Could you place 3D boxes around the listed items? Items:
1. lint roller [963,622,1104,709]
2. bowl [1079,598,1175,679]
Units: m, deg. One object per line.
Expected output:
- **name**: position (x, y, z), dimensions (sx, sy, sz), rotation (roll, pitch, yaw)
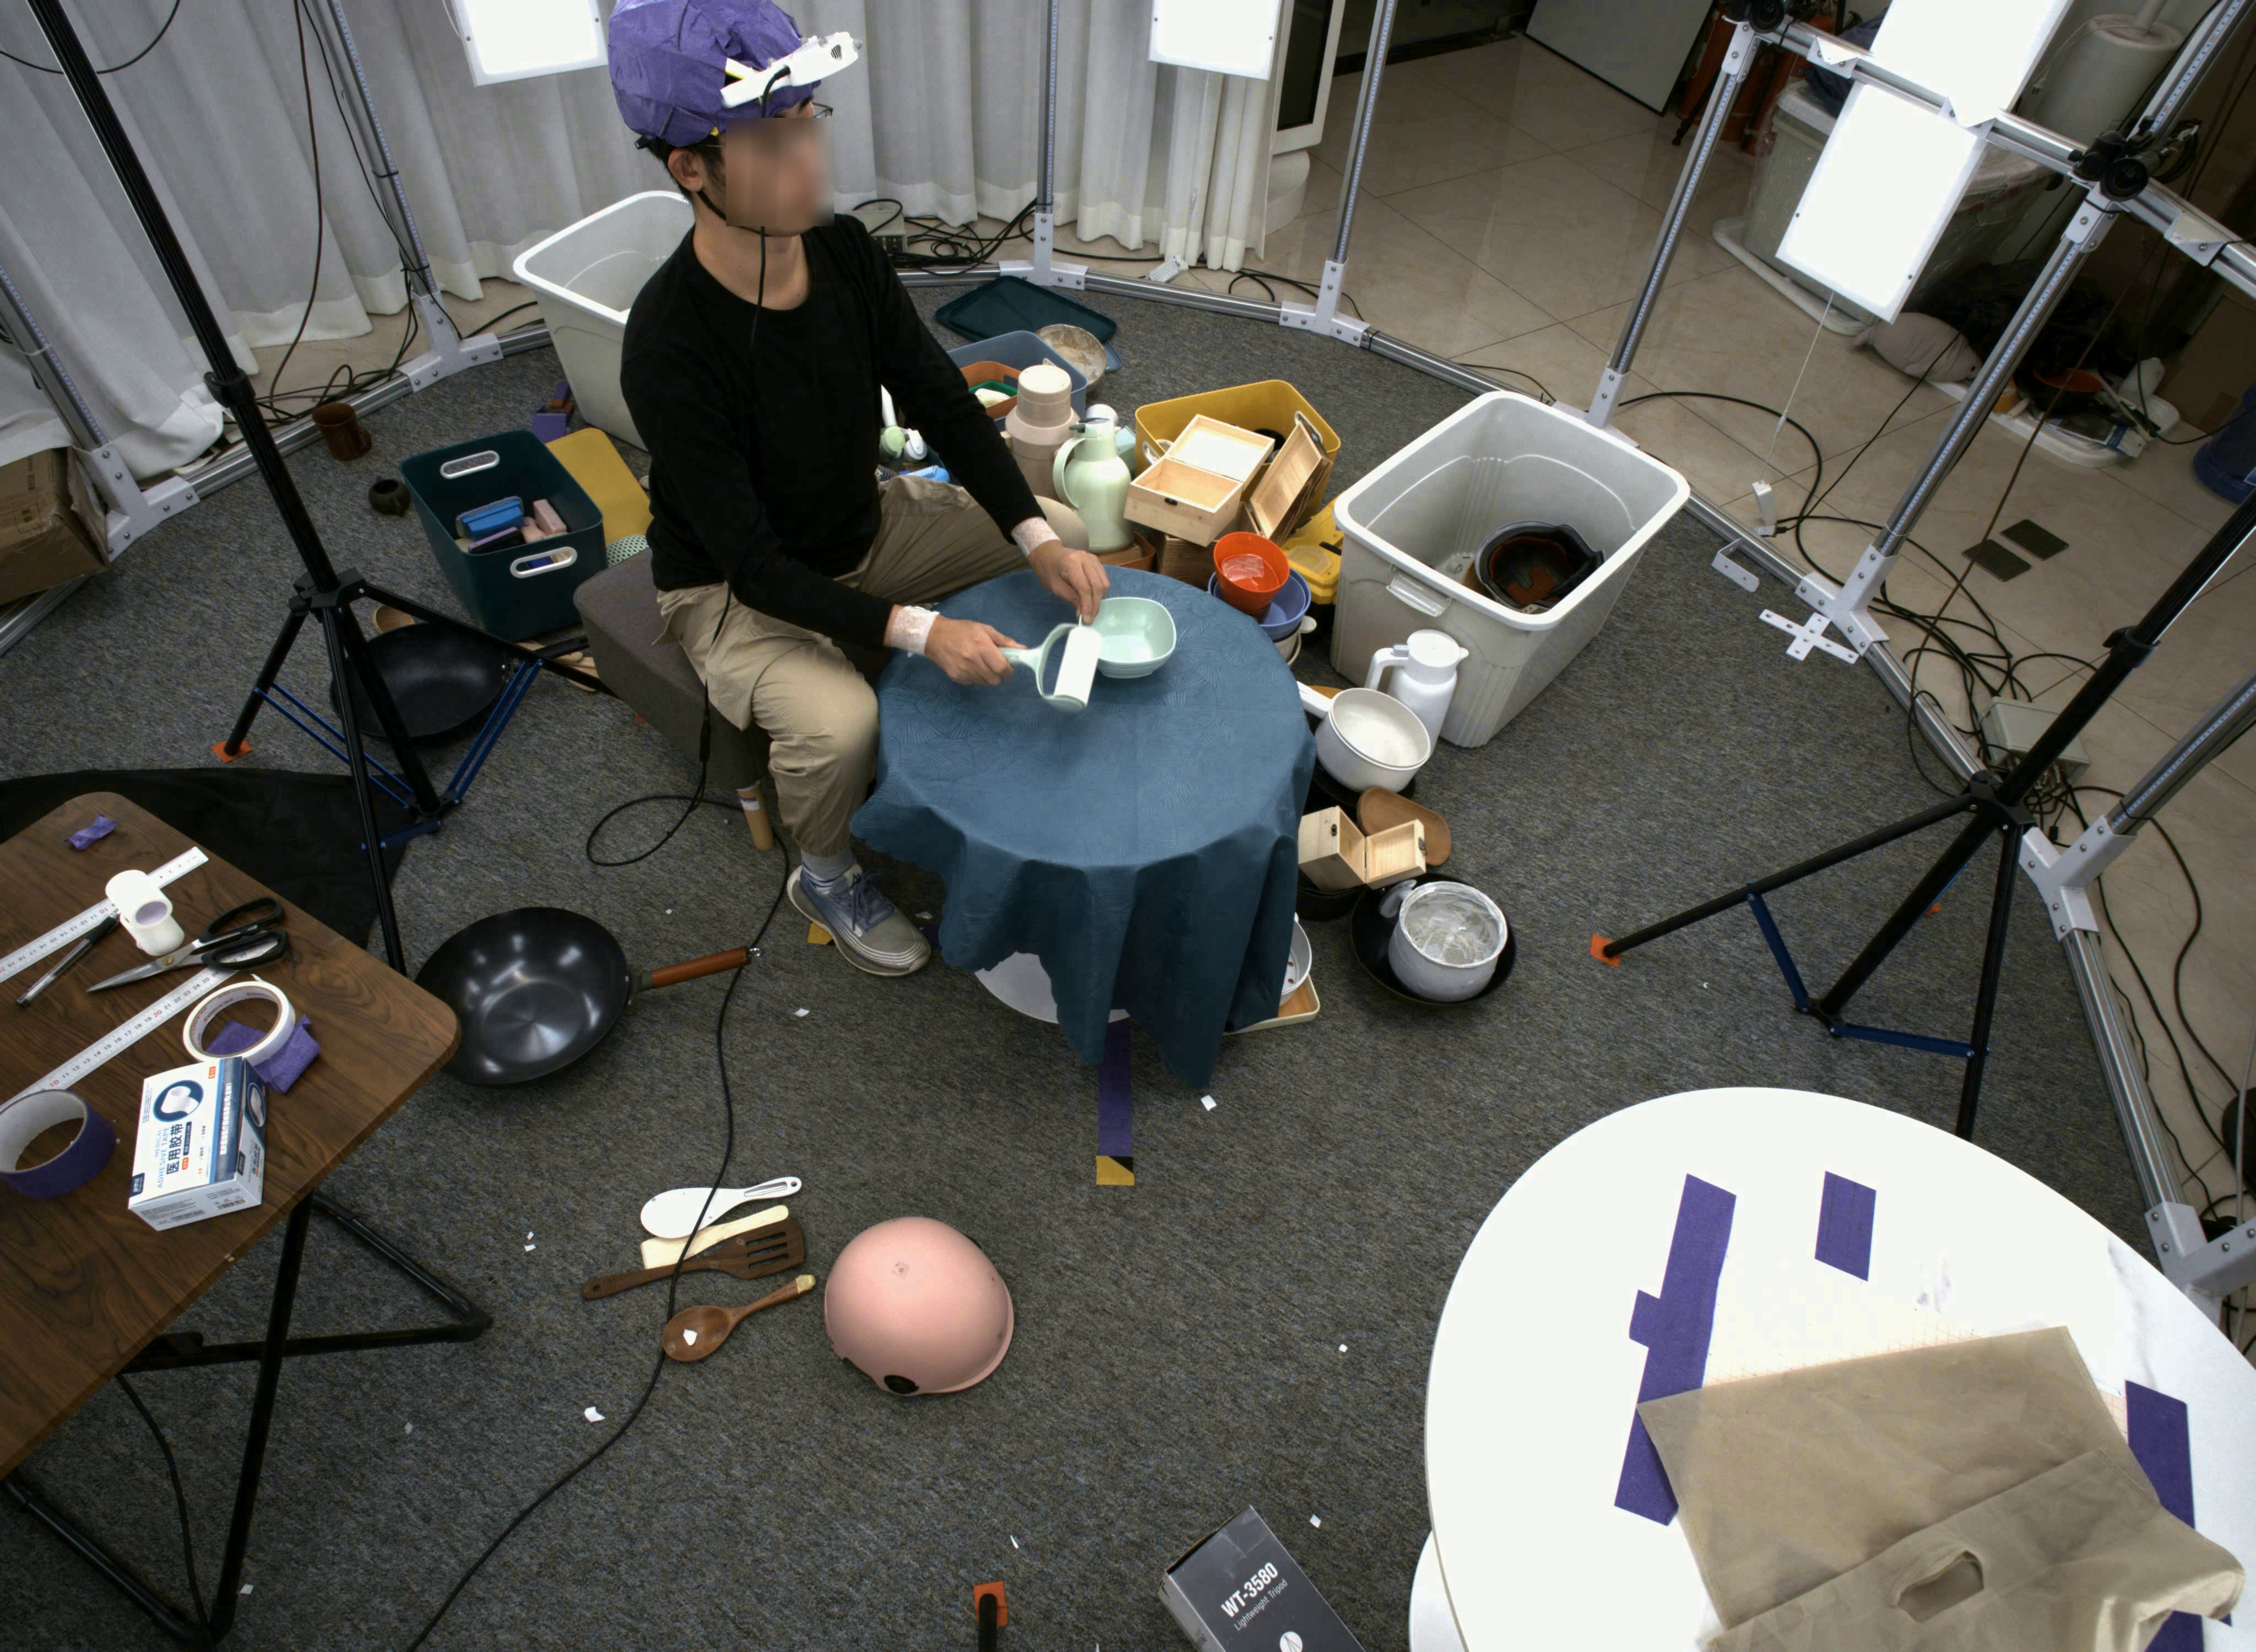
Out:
- **lint roller**: position (-0.135, -0.227, 1.756), dimensions (0.198, 0.047, 0.118), rotation (9, 72, 15)
- **bowl**: position (-0.003, -0.264, 1.862), dimensions (0.151, 0.057, 0.155), rotation (3, 50, -4)
